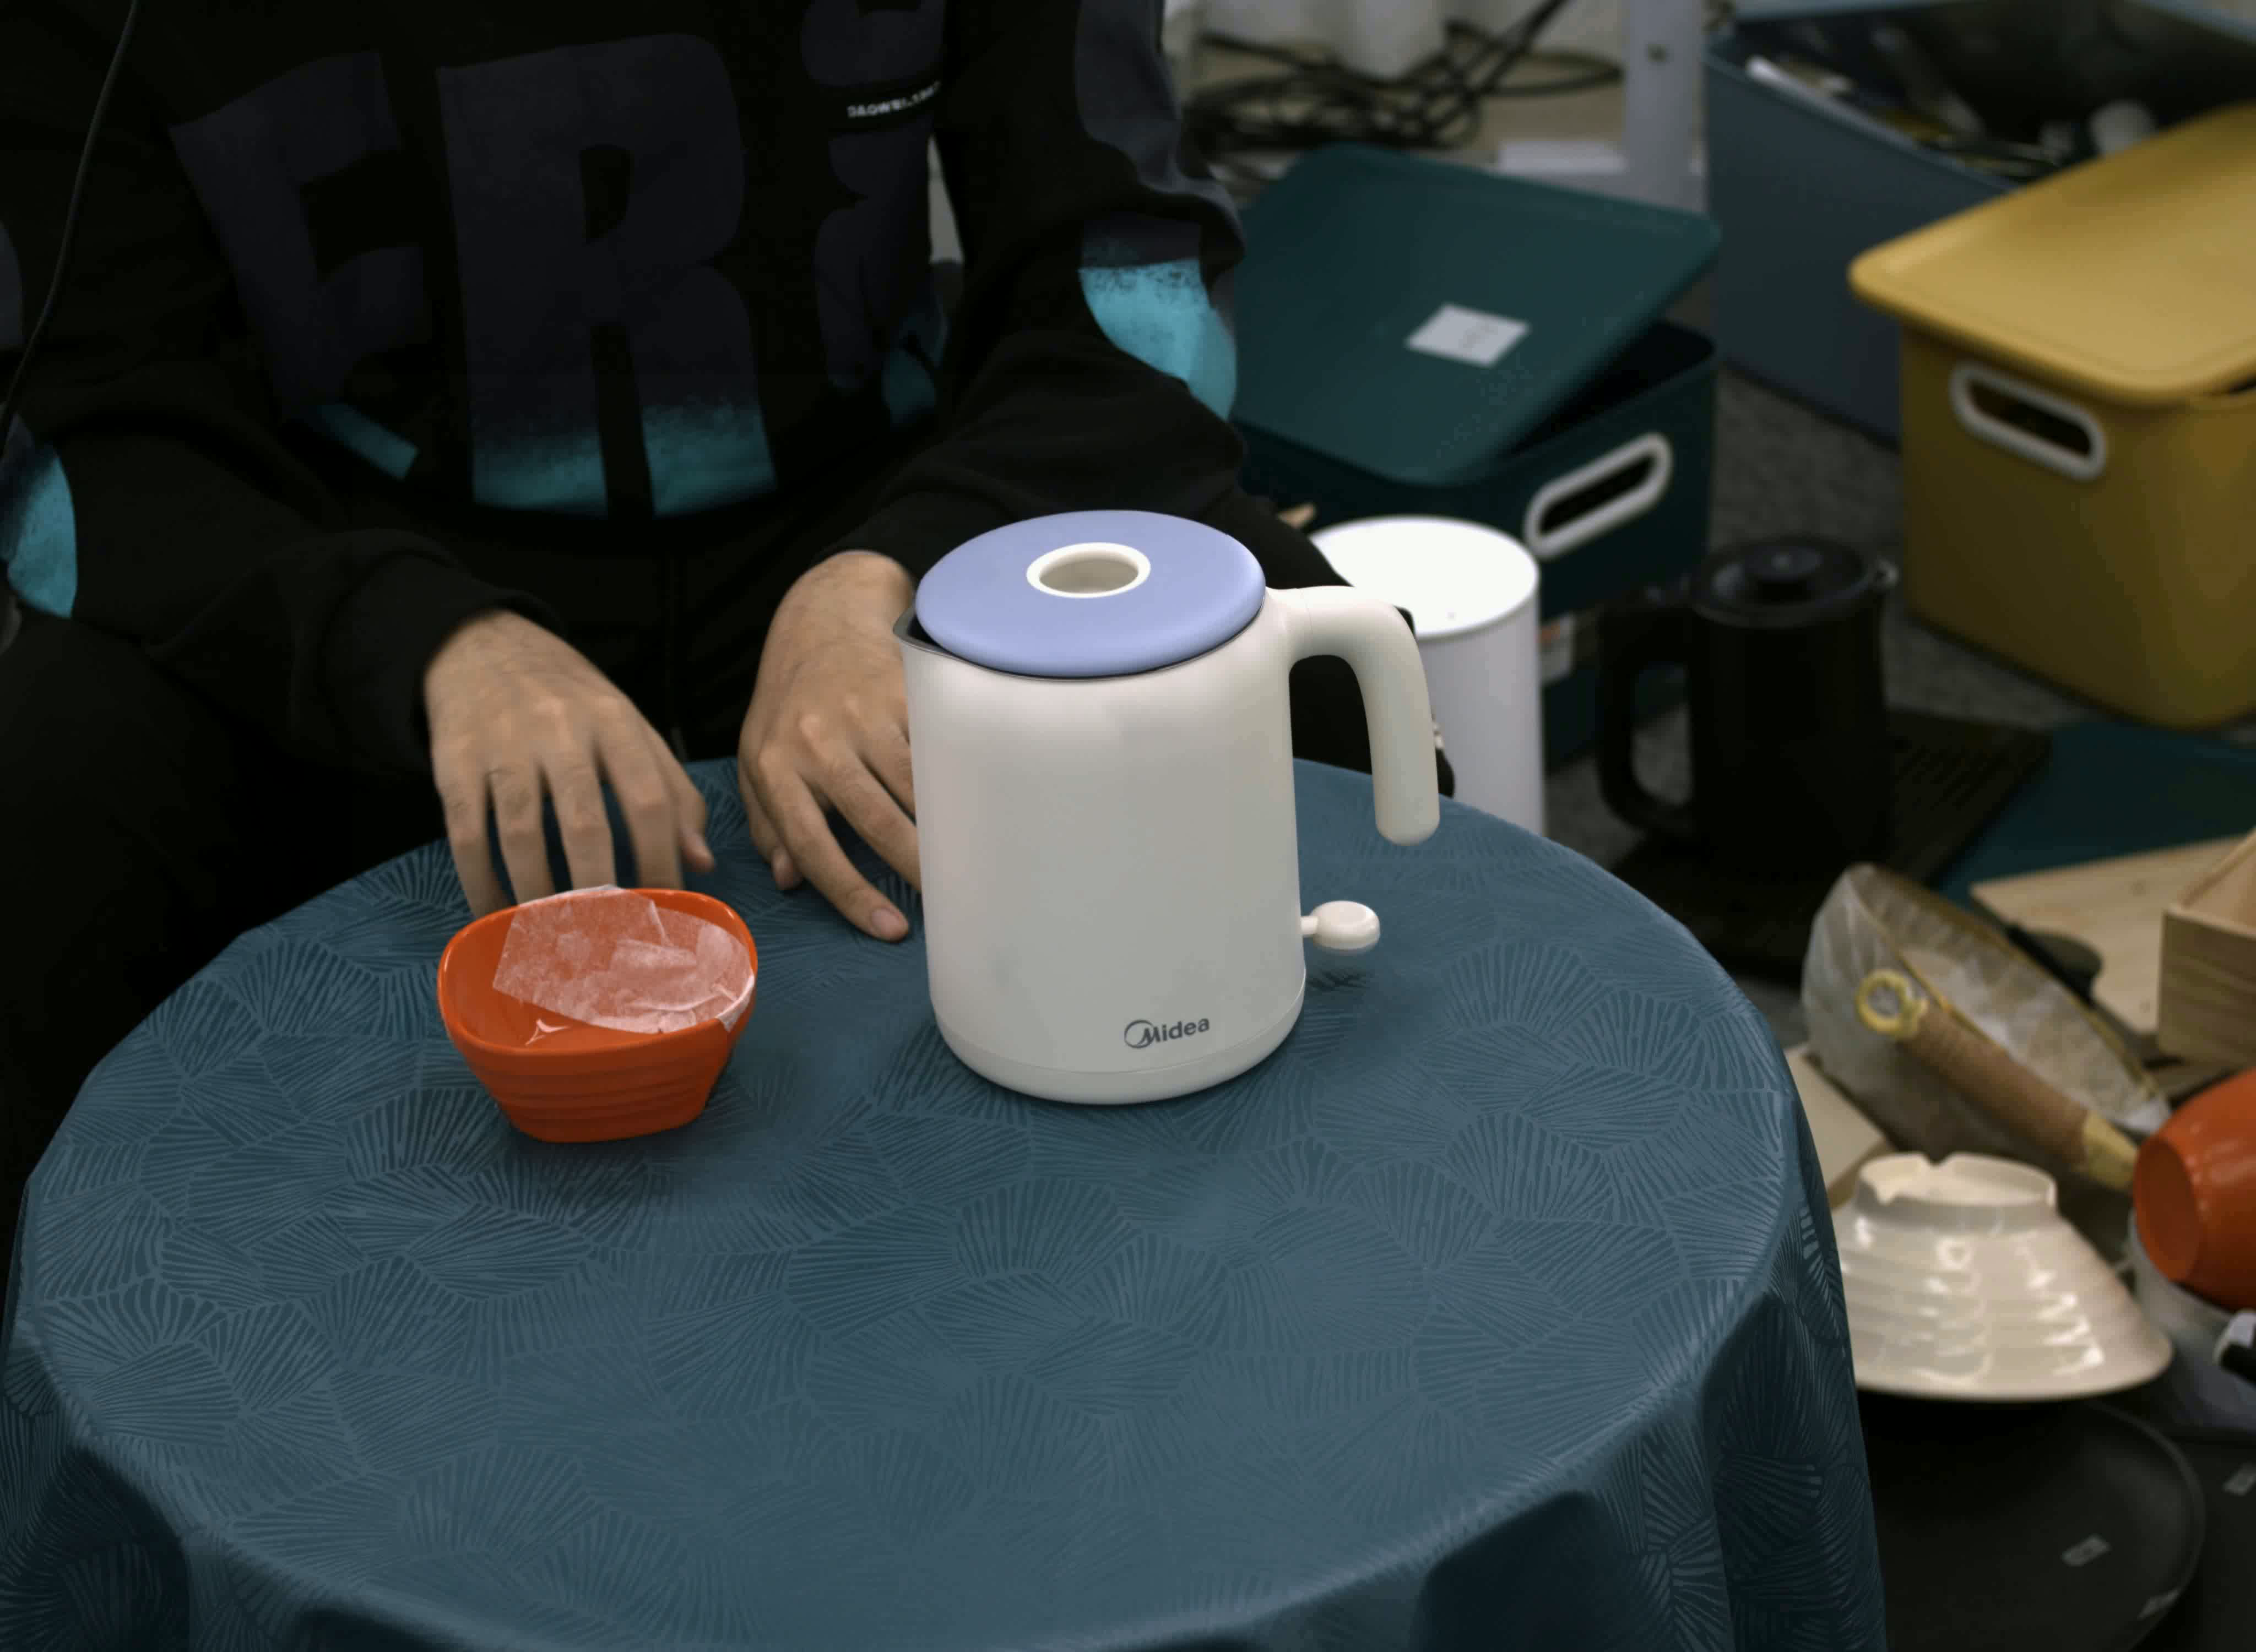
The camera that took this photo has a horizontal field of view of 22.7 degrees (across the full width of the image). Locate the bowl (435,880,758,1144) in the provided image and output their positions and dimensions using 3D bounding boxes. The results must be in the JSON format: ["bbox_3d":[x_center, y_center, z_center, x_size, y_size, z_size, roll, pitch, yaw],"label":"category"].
[{"bbox_3d":[-0.179,0.068,1.922,0.118,0.051,0.121,-3,30,2],"label":"bowl"}]

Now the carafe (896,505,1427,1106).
[{"bbox_3d":[0.014,-0.011,1.933,0.191,0.180,0.133,-9,28,-16],"label":"carafe"}]
